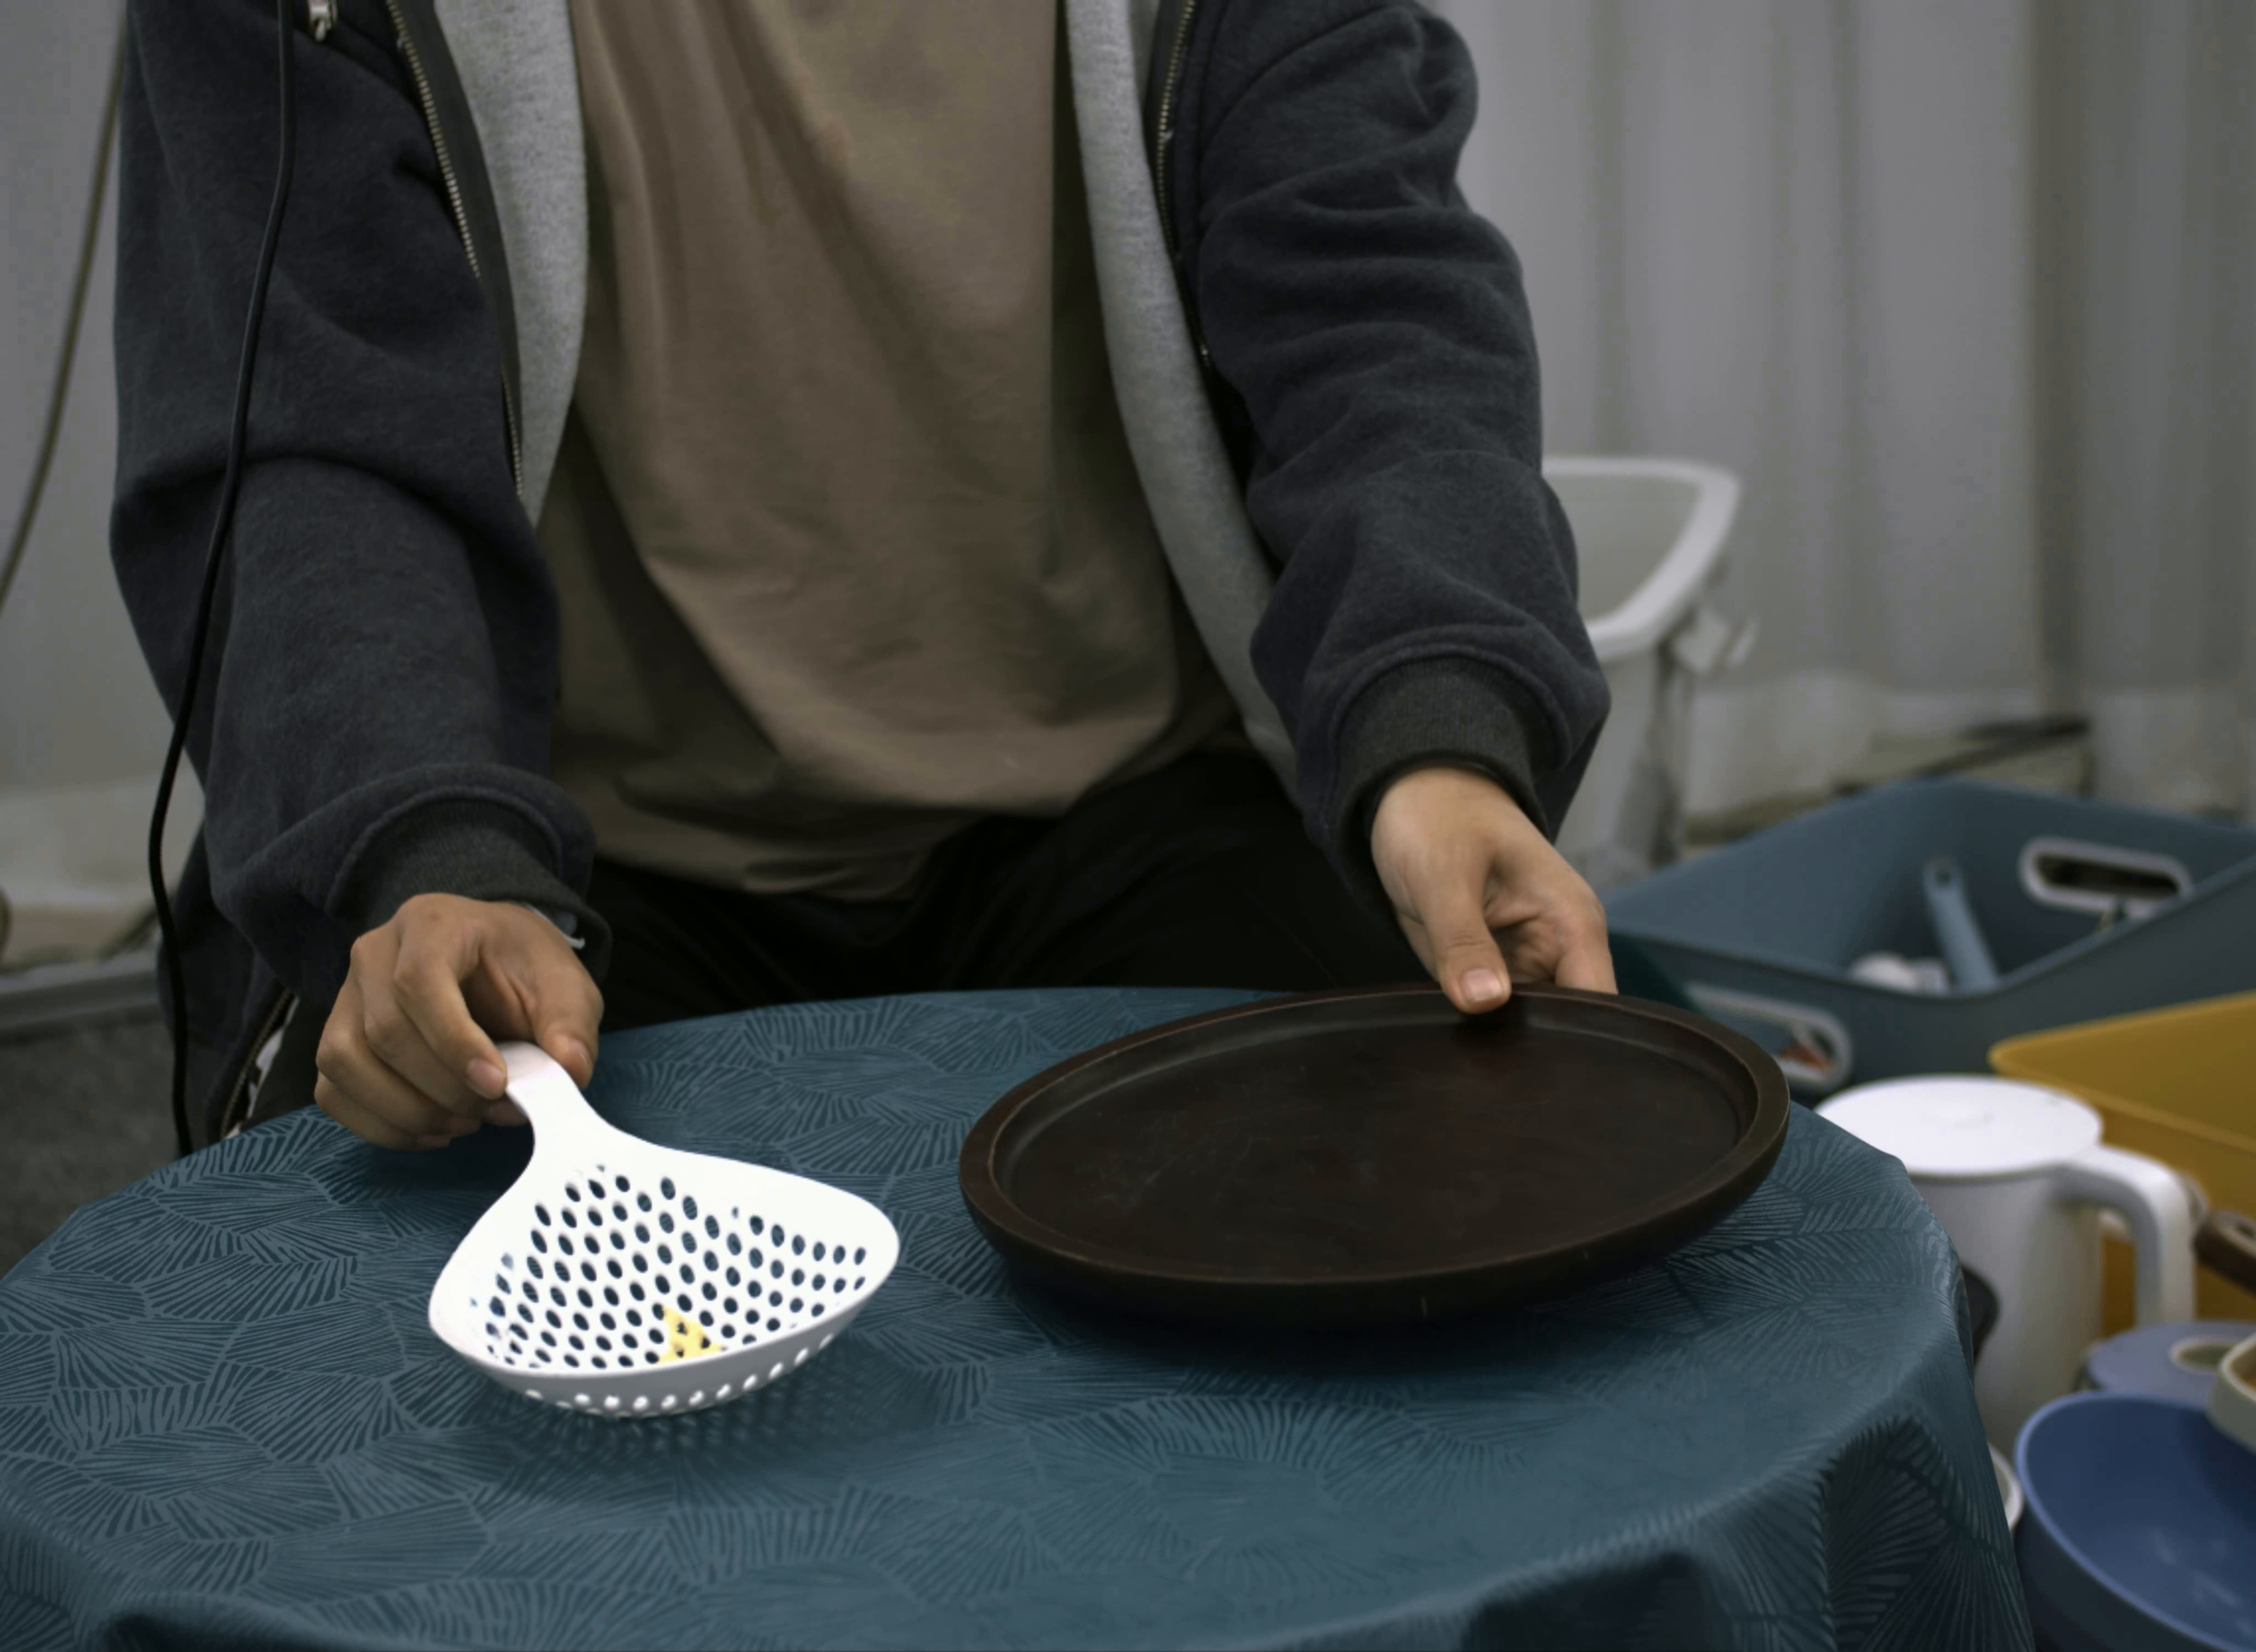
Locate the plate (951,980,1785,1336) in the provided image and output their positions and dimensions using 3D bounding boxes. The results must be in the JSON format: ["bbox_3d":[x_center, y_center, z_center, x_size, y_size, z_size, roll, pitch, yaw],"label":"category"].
[{"bbox_3d":[0.073,0.098,1.653,0.254,0.029,0.257,-7,17,2],"label":"plate"}]

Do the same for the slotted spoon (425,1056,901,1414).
[{"bbox_3d":[-0.166,0.109,1.658,0.136,0.050,0.351,-15,22,-15],"label":"slotted spoon"}]
